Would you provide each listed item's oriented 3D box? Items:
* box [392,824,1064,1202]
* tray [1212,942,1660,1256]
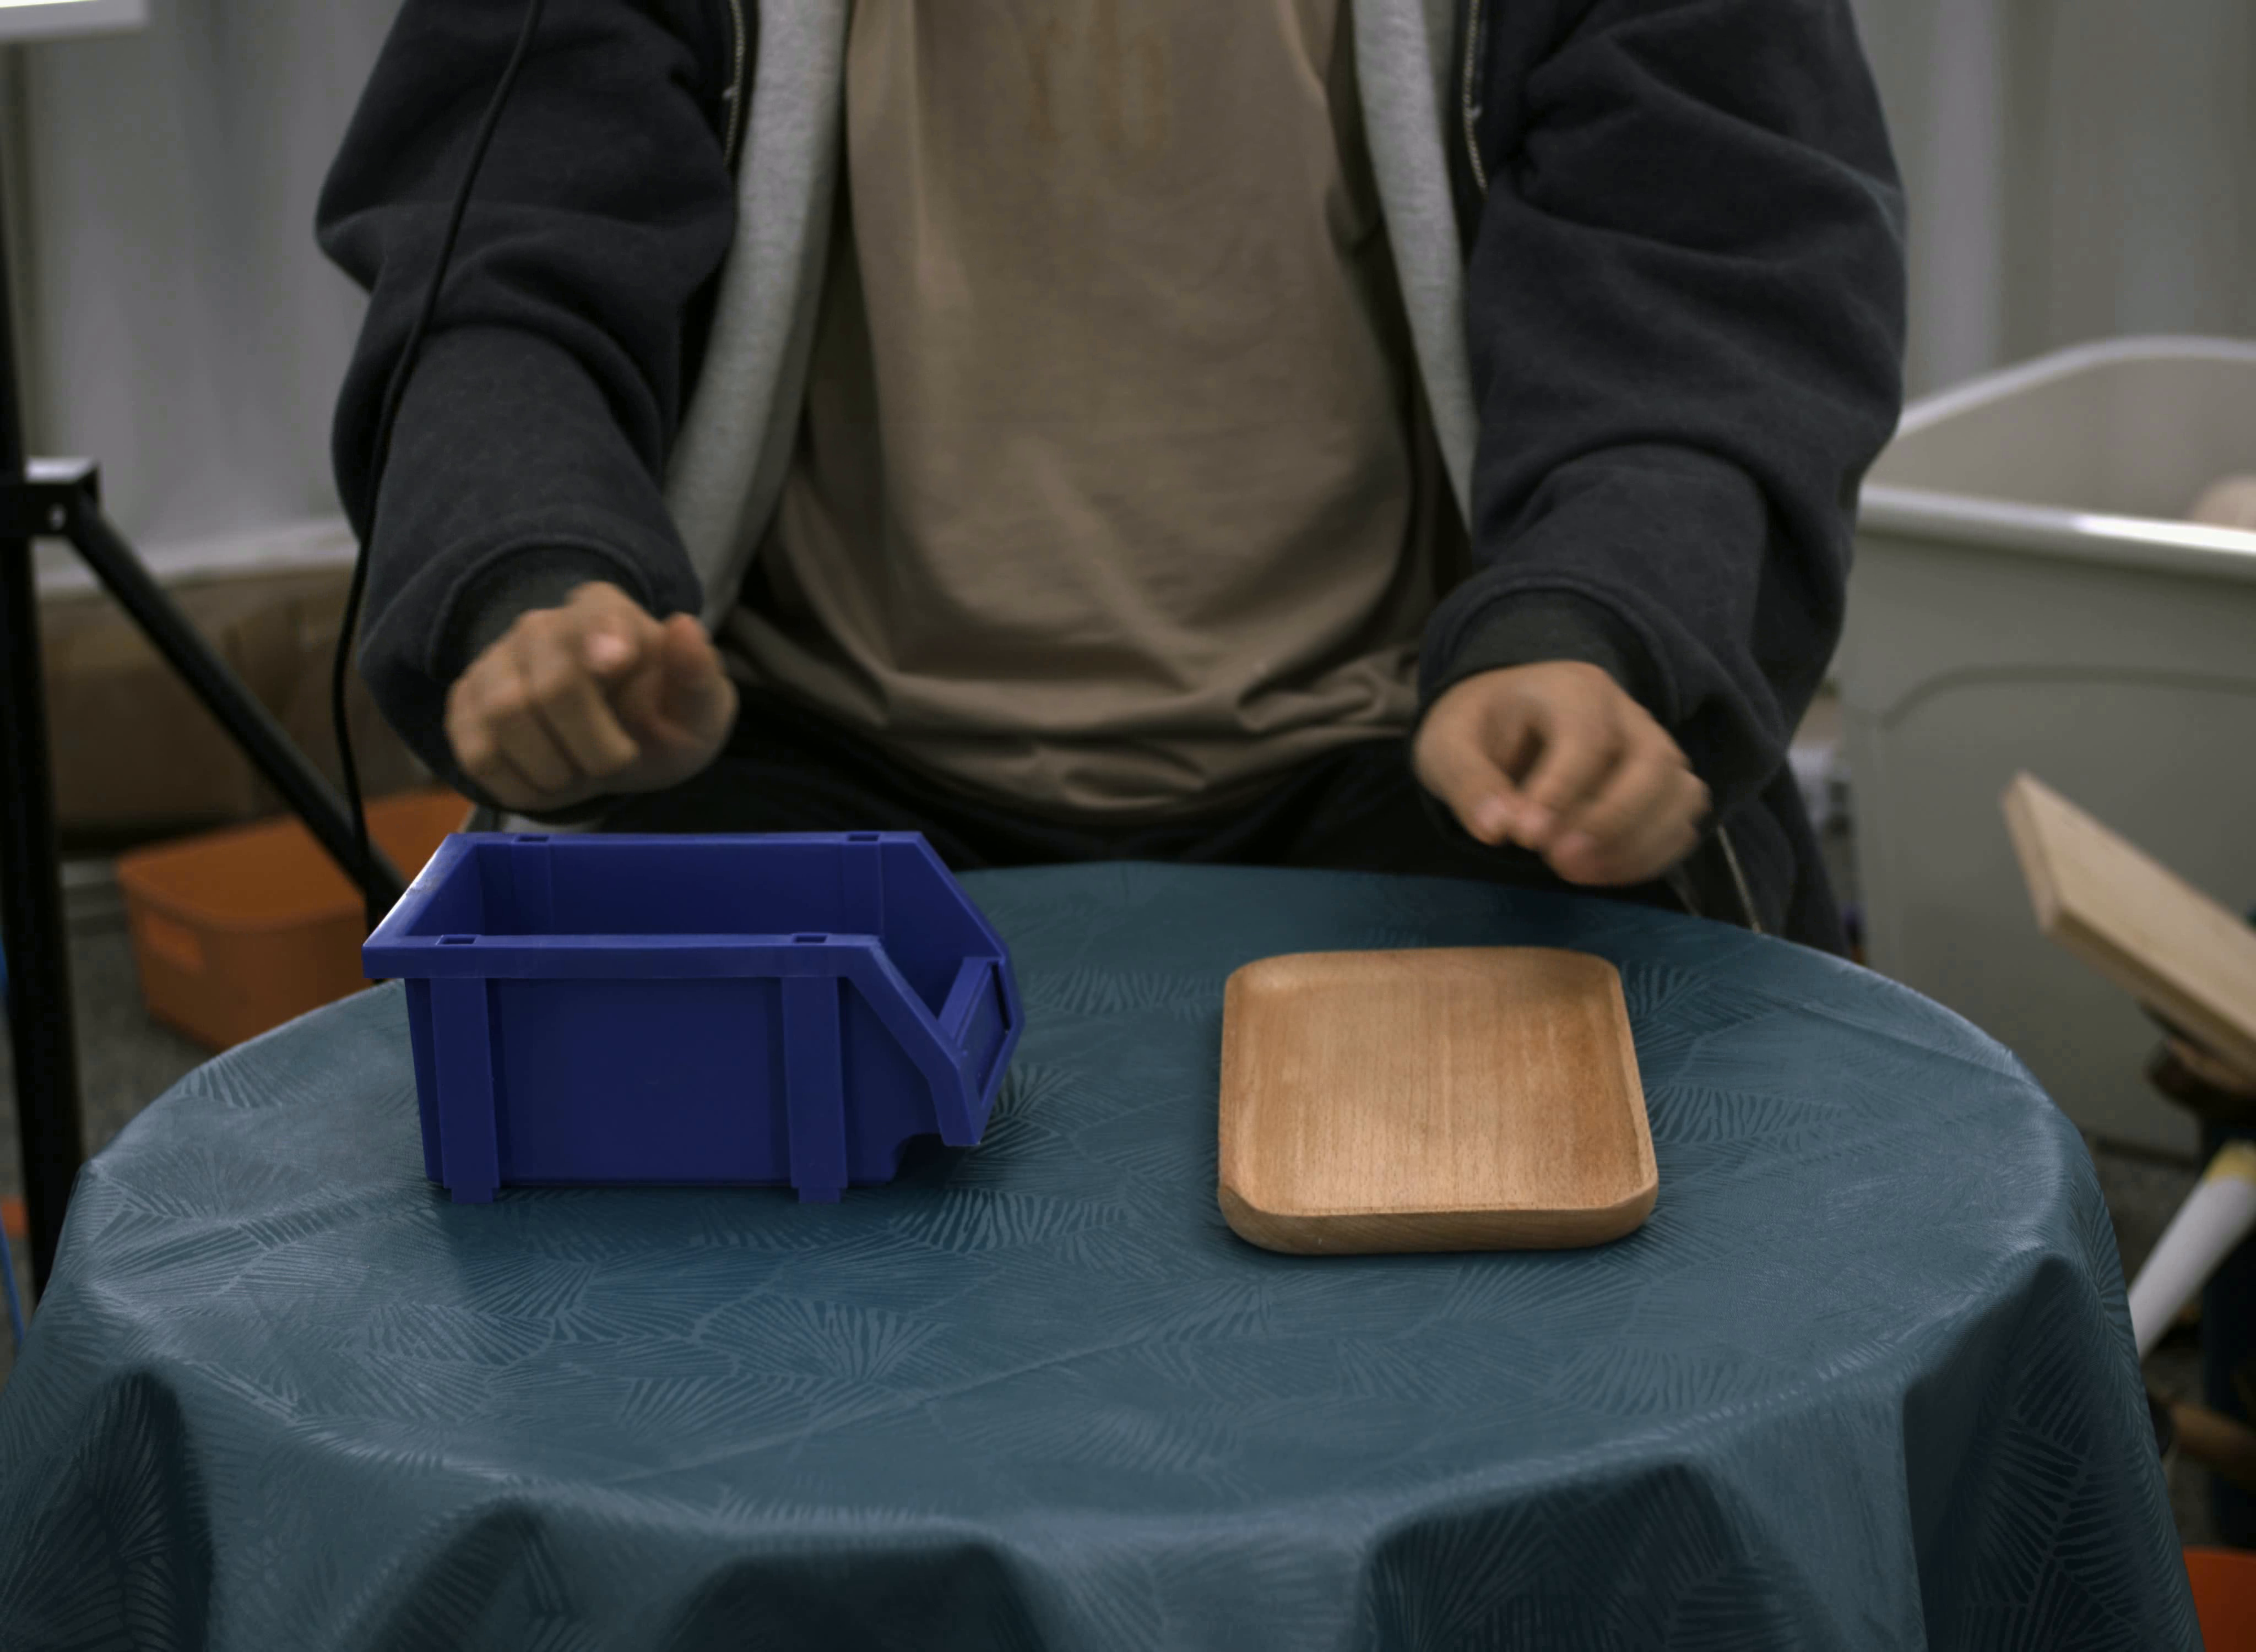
[{"bbox_3d":[-0.117,0.055,1.618,0.180,0.082,0.124,-3,15,11],"label":"box"},{"bbox_3d":[0.091,0.081,1.610,0.130,0.023,0.251,1,16,2],"label":"tray"}]
